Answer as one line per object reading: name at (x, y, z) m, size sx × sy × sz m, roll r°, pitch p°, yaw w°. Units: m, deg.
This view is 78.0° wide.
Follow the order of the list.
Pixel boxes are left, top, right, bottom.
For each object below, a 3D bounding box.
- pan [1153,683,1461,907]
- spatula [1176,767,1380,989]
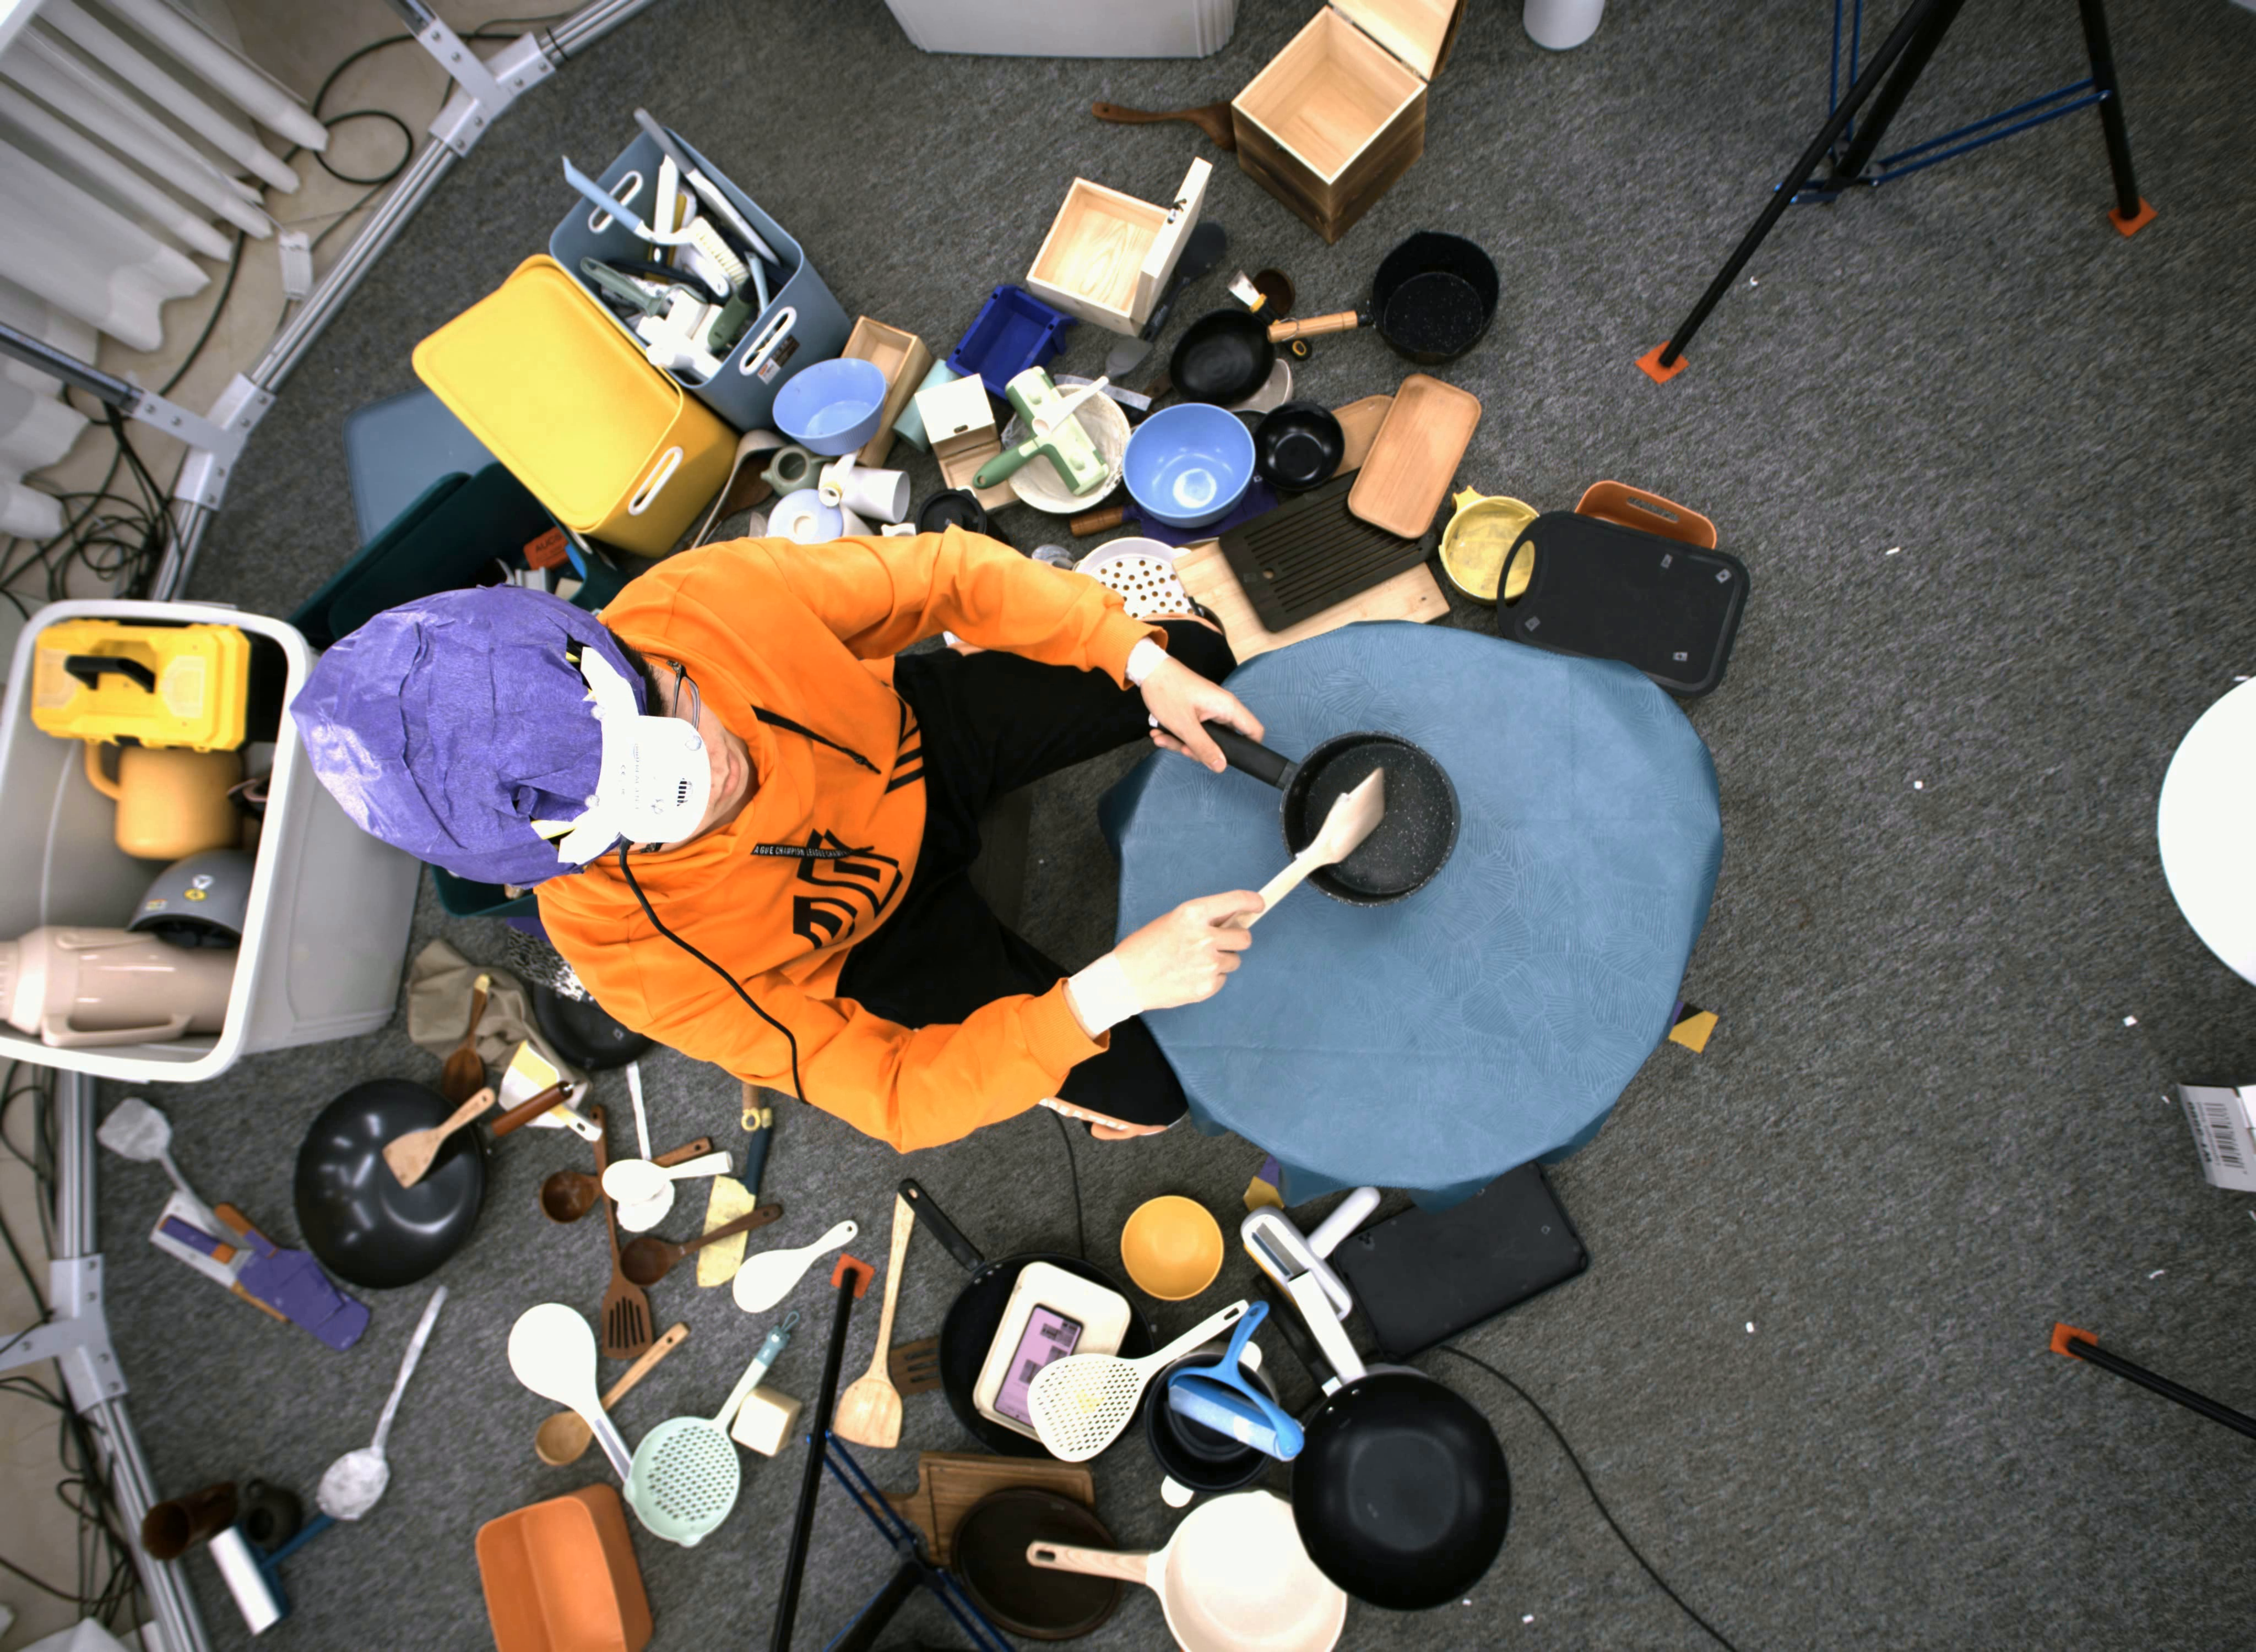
pan at (0.176, -0.048, 1.378) m, size 0.327 × 0.086 × 0.174 m, roll 31°, pitch 103°, yaw 15°
spatula at (0.146, 0.052, 1.302) m, size 0.289 × 0.074 × 0.010 m, roll -42°, pitch 56°, yaw -19°
